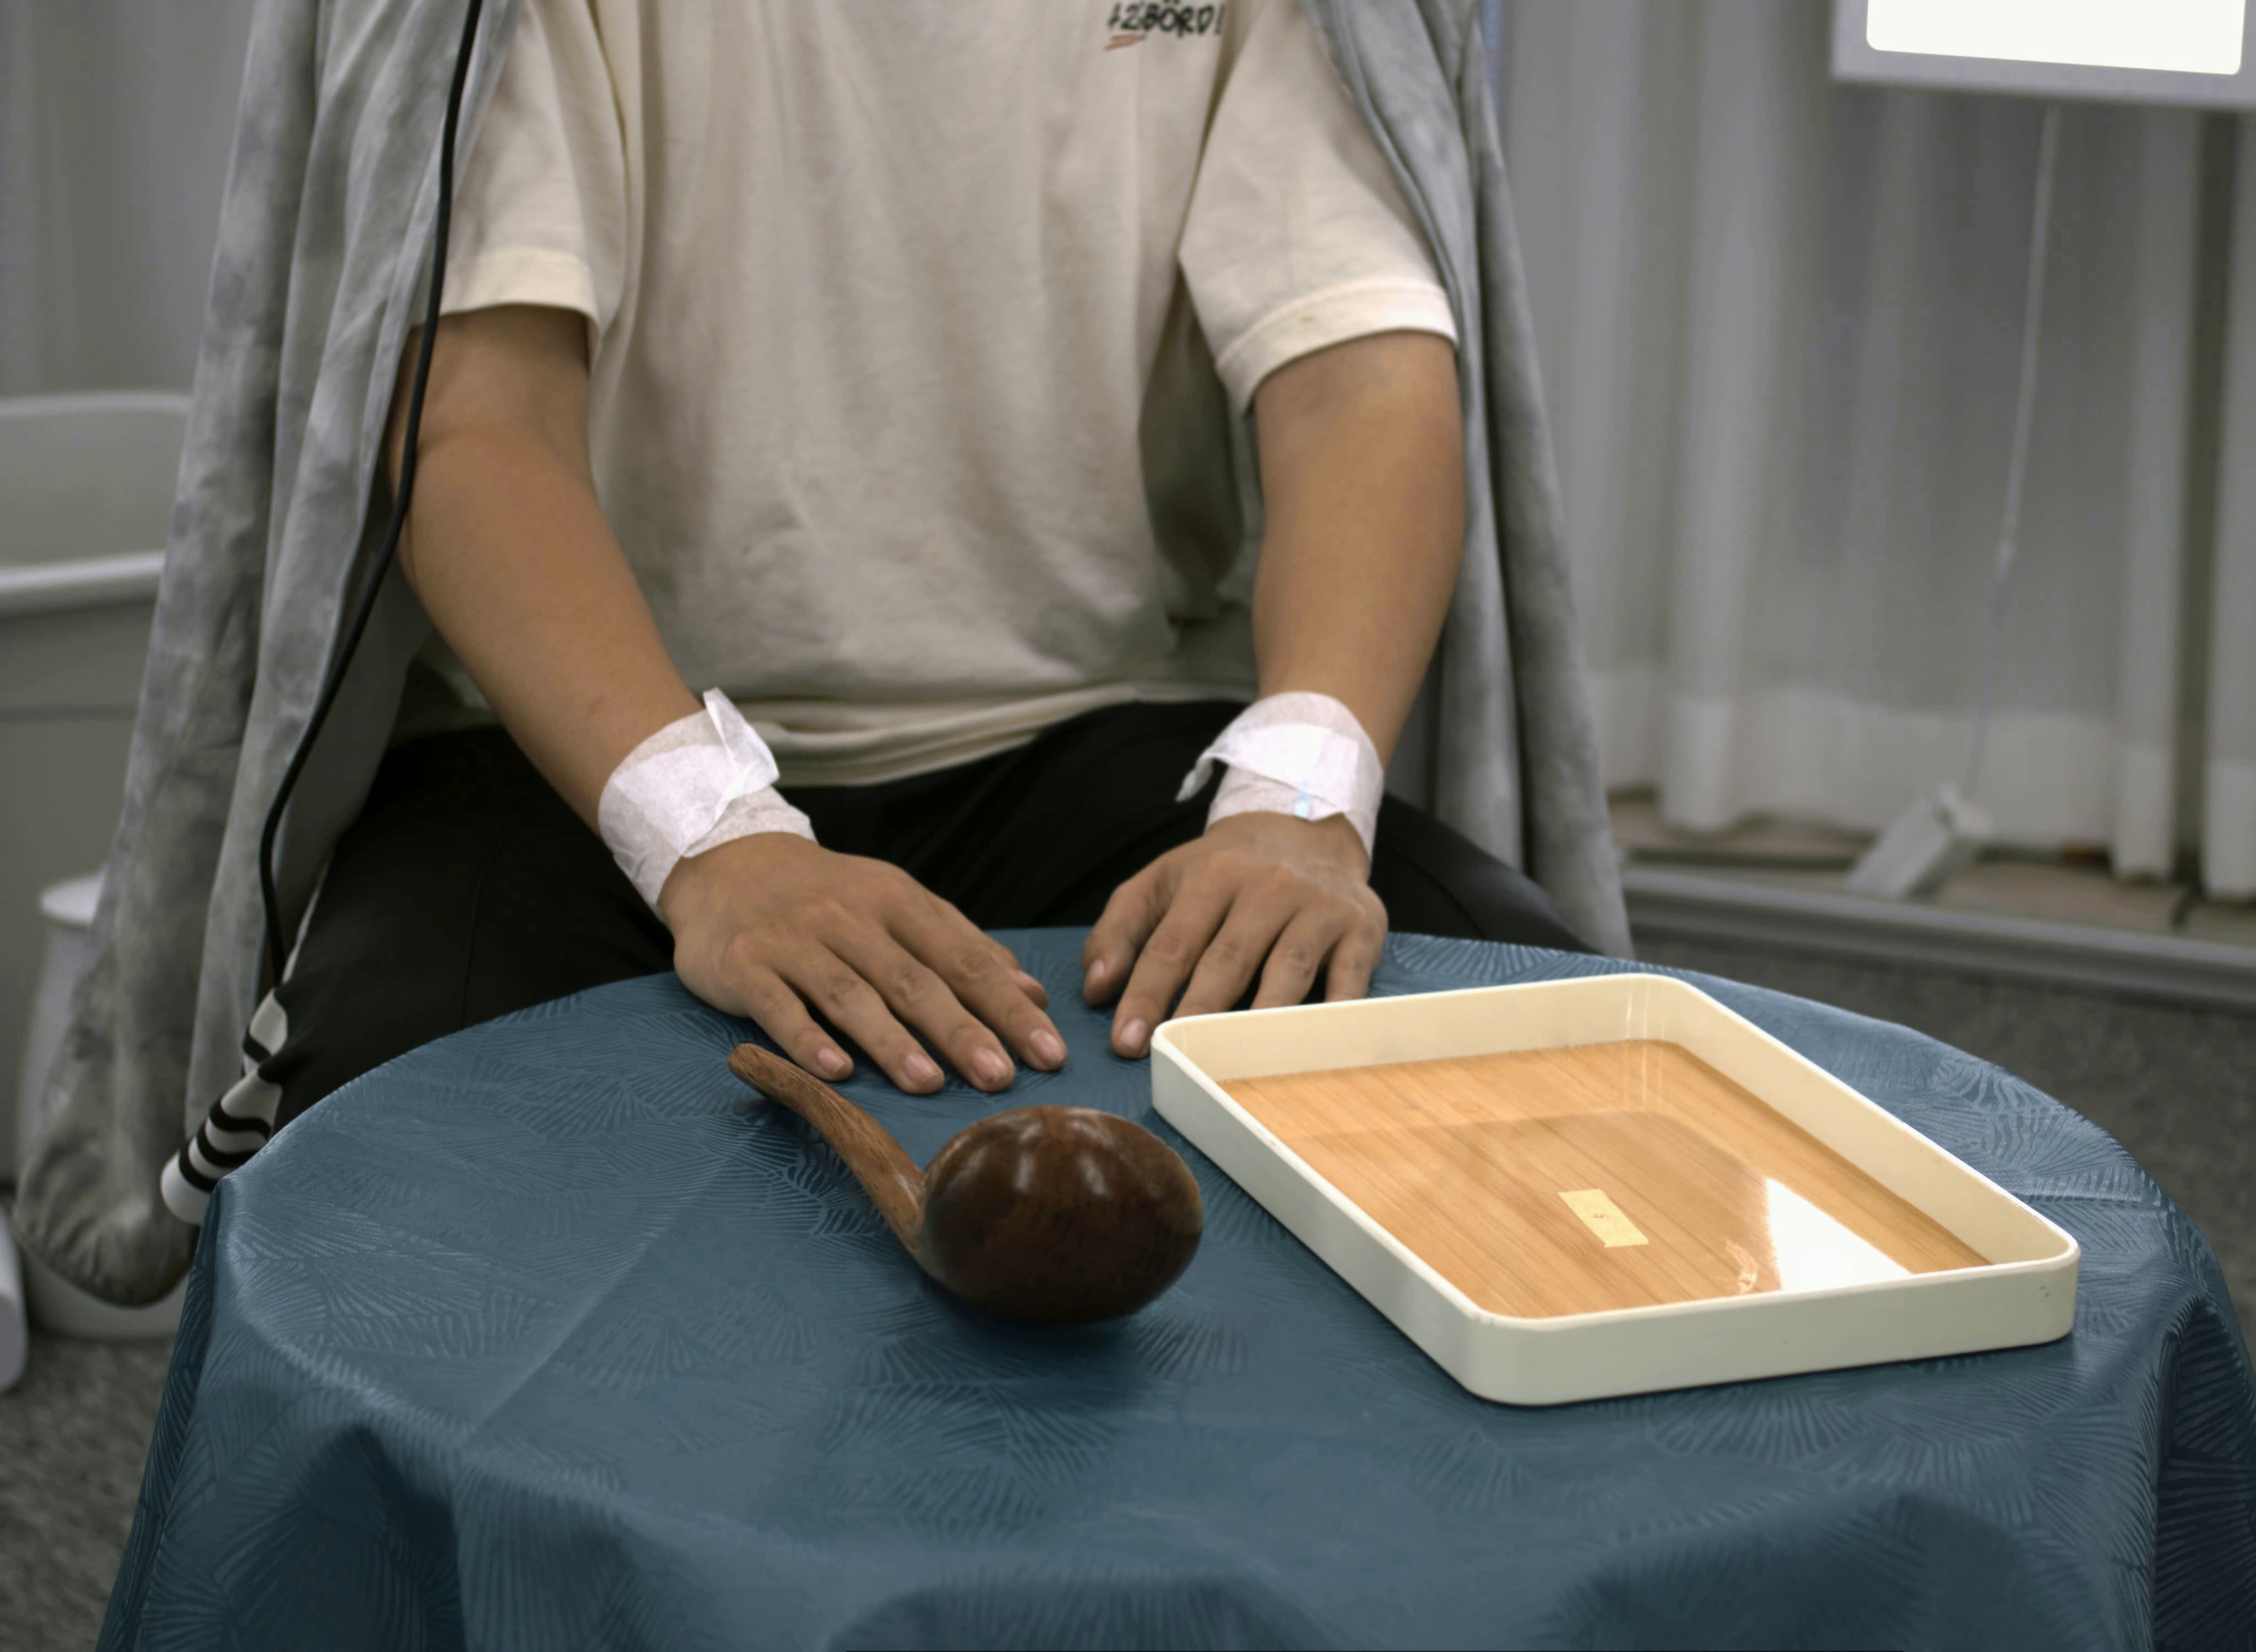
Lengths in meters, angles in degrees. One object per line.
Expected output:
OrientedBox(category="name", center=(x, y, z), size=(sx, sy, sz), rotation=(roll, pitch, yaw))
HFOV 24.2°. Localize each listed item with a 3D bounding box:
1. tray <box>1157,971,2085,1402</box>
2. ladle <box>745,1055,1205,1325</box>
OrientedBox(category="tray", center=(0.142, 0.105, 1.607), size=(0.192, 0.027, 0.297), rotation=(-5, 16, -18))
OrientedBox(category="ladle", center=(-0.056, 0.086, 1.586), size=(0.083, 0.076, 0.271), rotation=(36, 0, -24))
